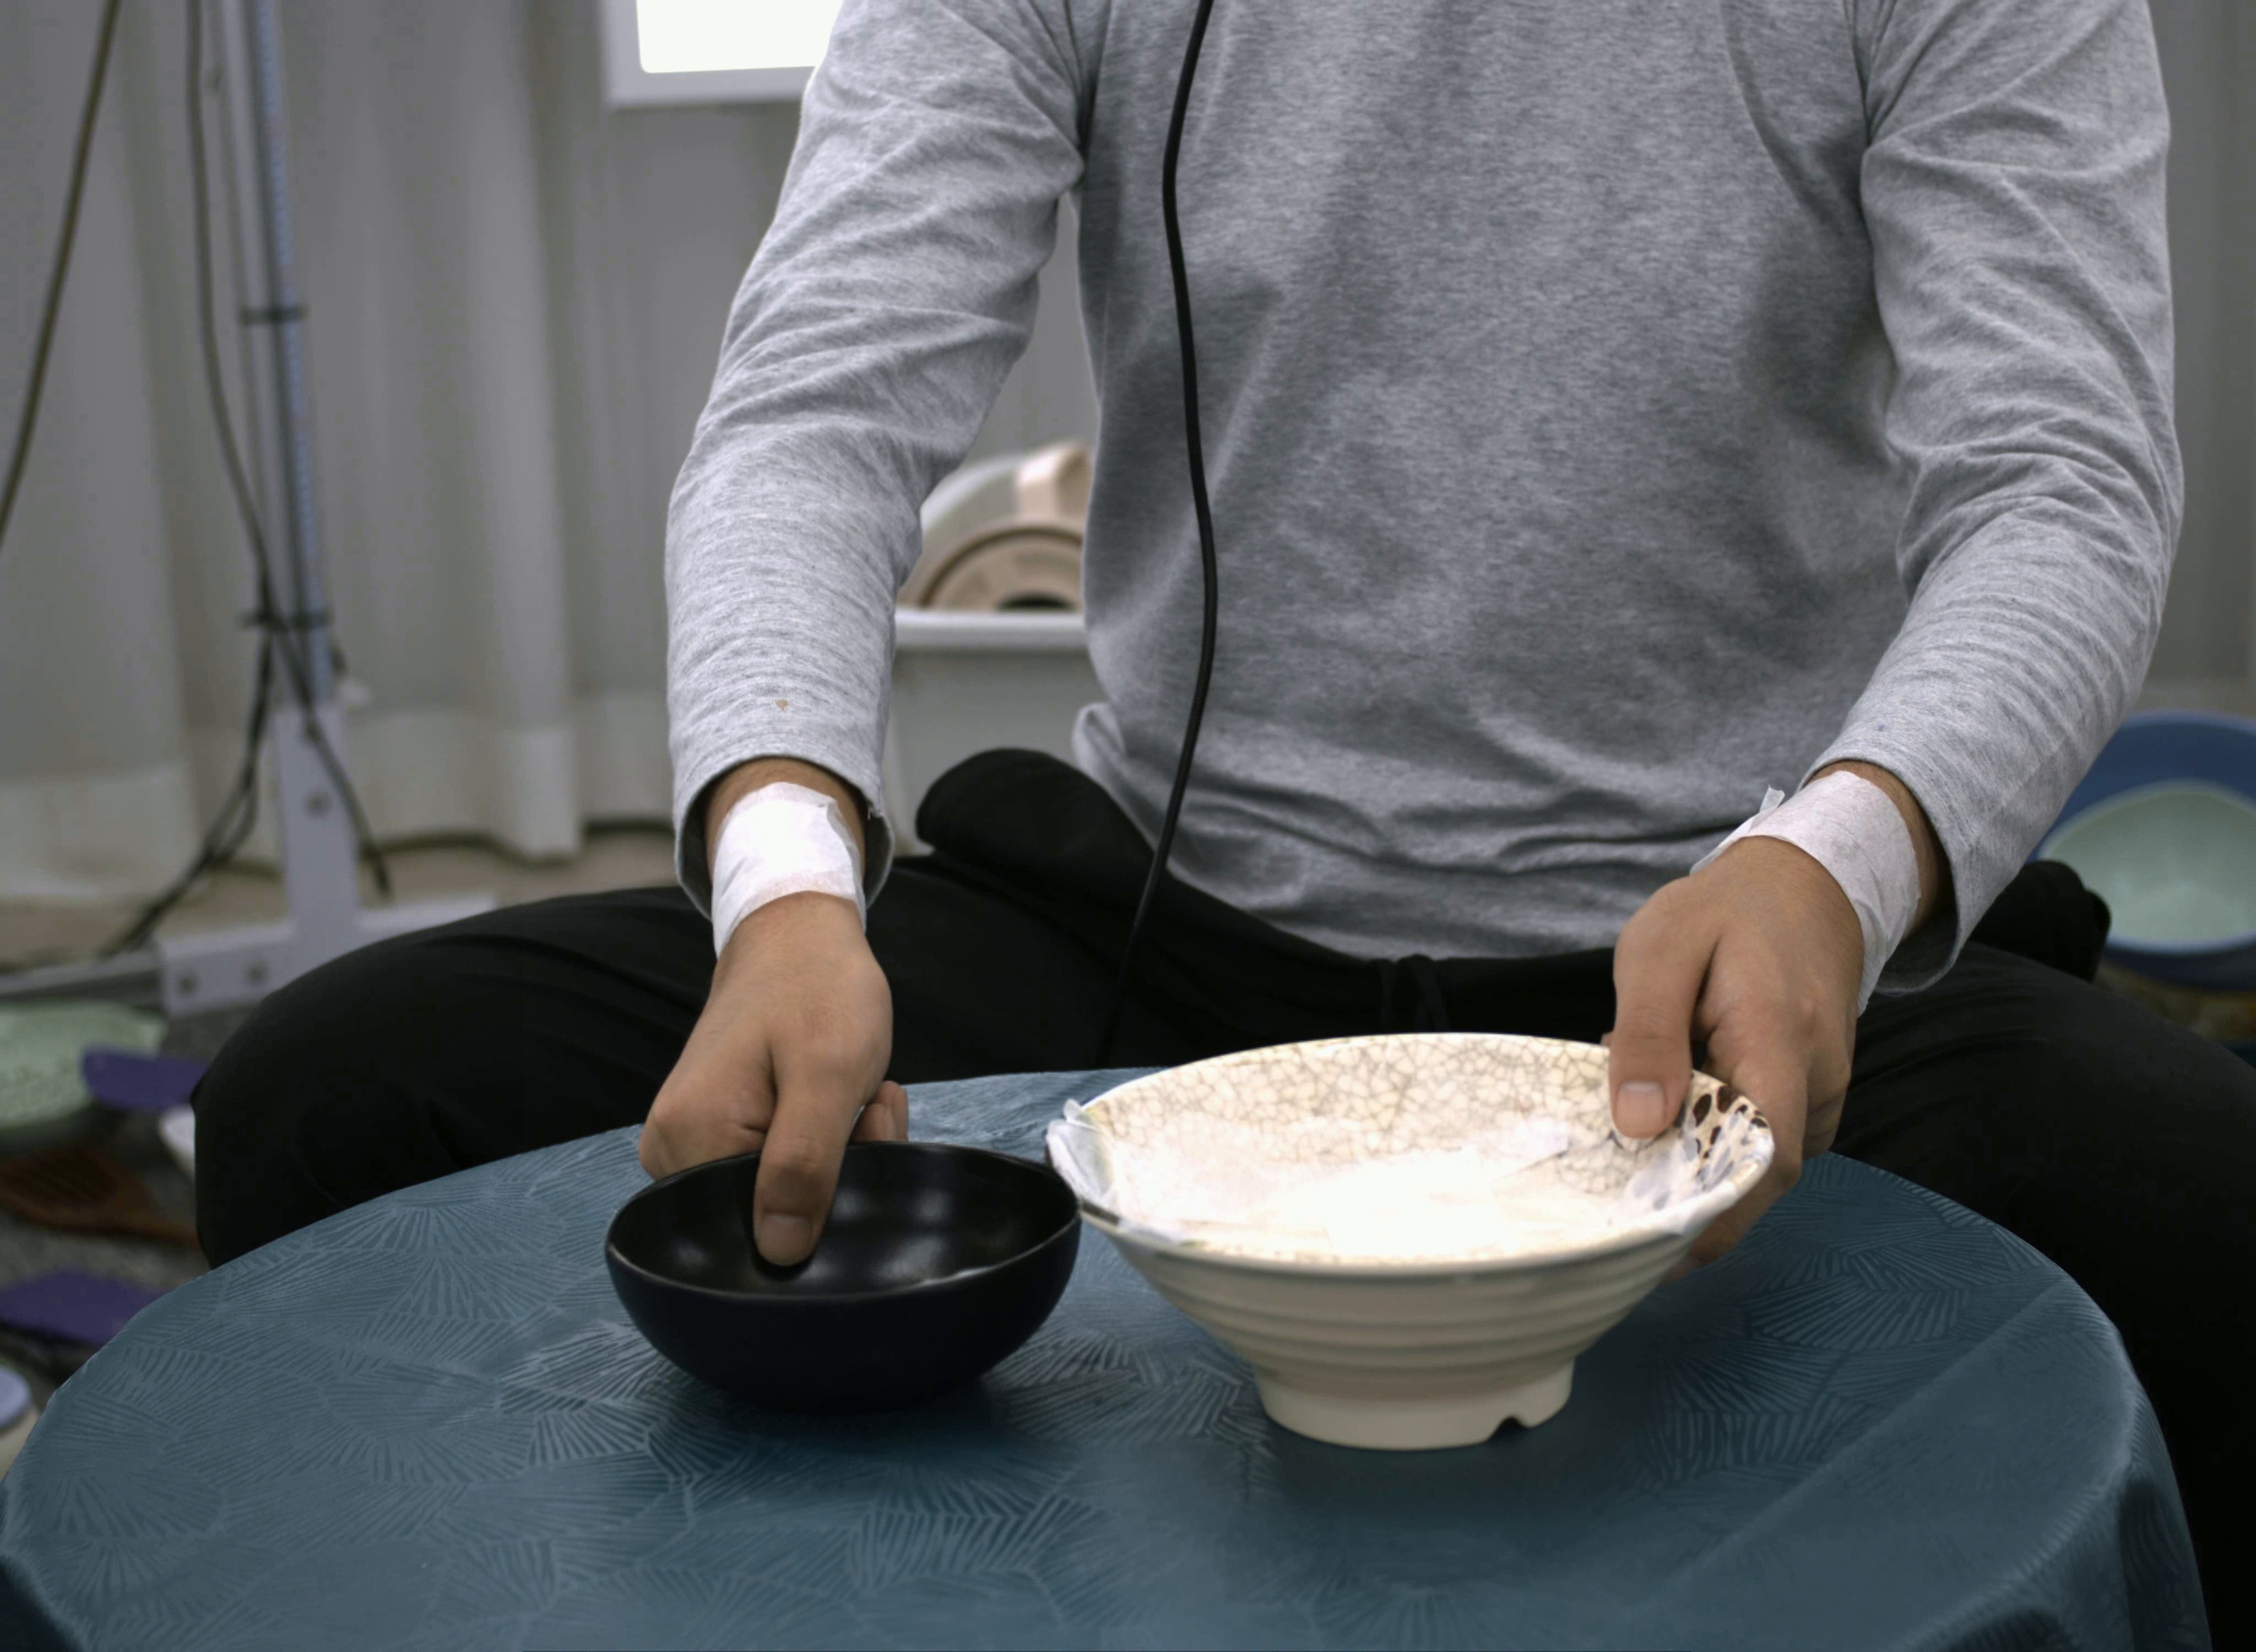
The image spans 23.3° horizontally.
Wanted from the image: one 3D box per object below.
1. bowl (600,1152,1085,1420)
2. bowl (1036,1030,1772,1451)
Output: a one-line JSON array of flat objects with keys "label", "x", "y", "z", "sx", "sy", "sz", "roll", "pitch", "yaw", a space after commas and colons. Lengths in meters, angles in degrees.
[{"label": "bowl", "x": -0.081, "y": 0.136, "z": 1.565, "sx": 0.139, "sy": 0.049, "sz": 0.141, "roll": 0, "pitch": 12, "yaw": 0}, {"label": "bowl", "x": 0.077, "y": 0.123, "z": 1.521, "sx": 0.203, "sy": 0.077, "sz": 0.205, "roll": -2, "pitch": 14, "yaw": 0}]
